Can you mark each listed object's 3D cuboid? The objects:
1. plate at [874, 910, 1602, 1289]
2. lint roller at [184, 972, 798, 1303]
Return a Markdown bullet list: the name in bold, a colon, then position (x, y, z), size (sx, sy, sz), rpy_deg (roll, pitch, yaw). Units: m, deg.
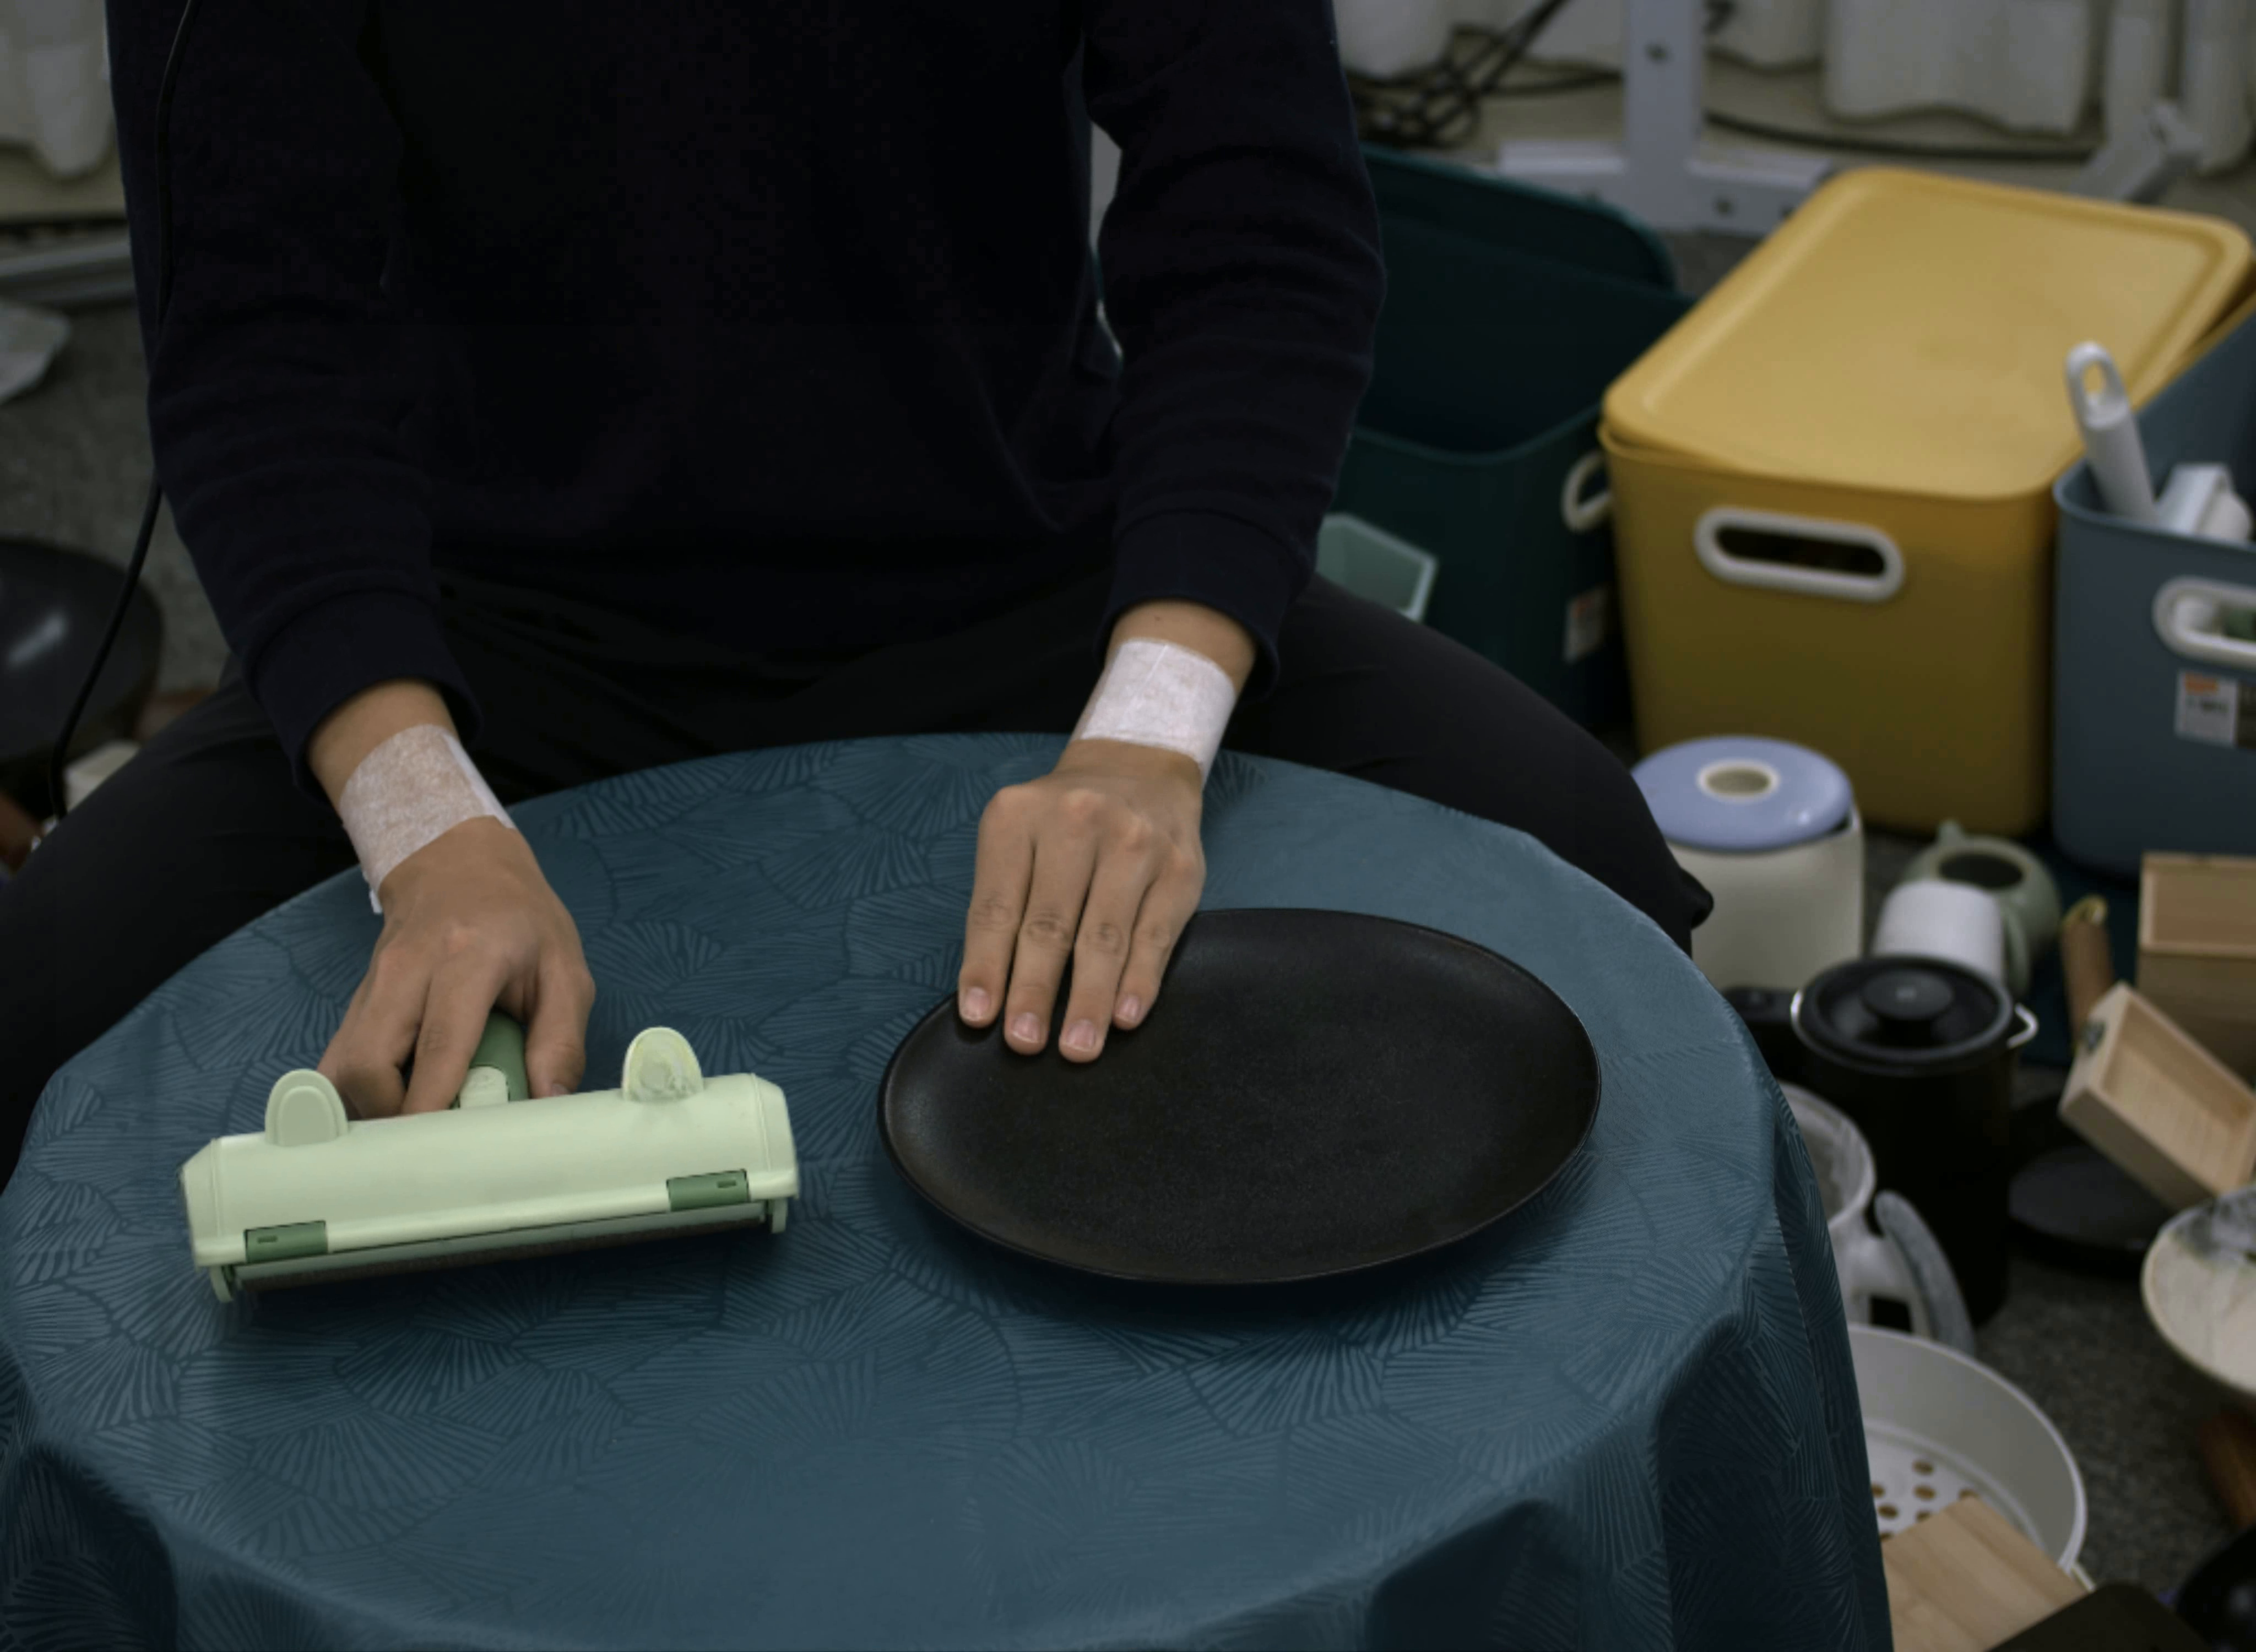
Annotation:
- **plate**: position (0.037, 0.096, 1.882), size (0.243, 0.023, 0.248), rpy_deg (-2, 28, 1)
- **lint roller**: position (-0.217, 0.081, 1.870), size (0.198, 0.081, 0.186), rpy_deg (-6, 34, -9)
